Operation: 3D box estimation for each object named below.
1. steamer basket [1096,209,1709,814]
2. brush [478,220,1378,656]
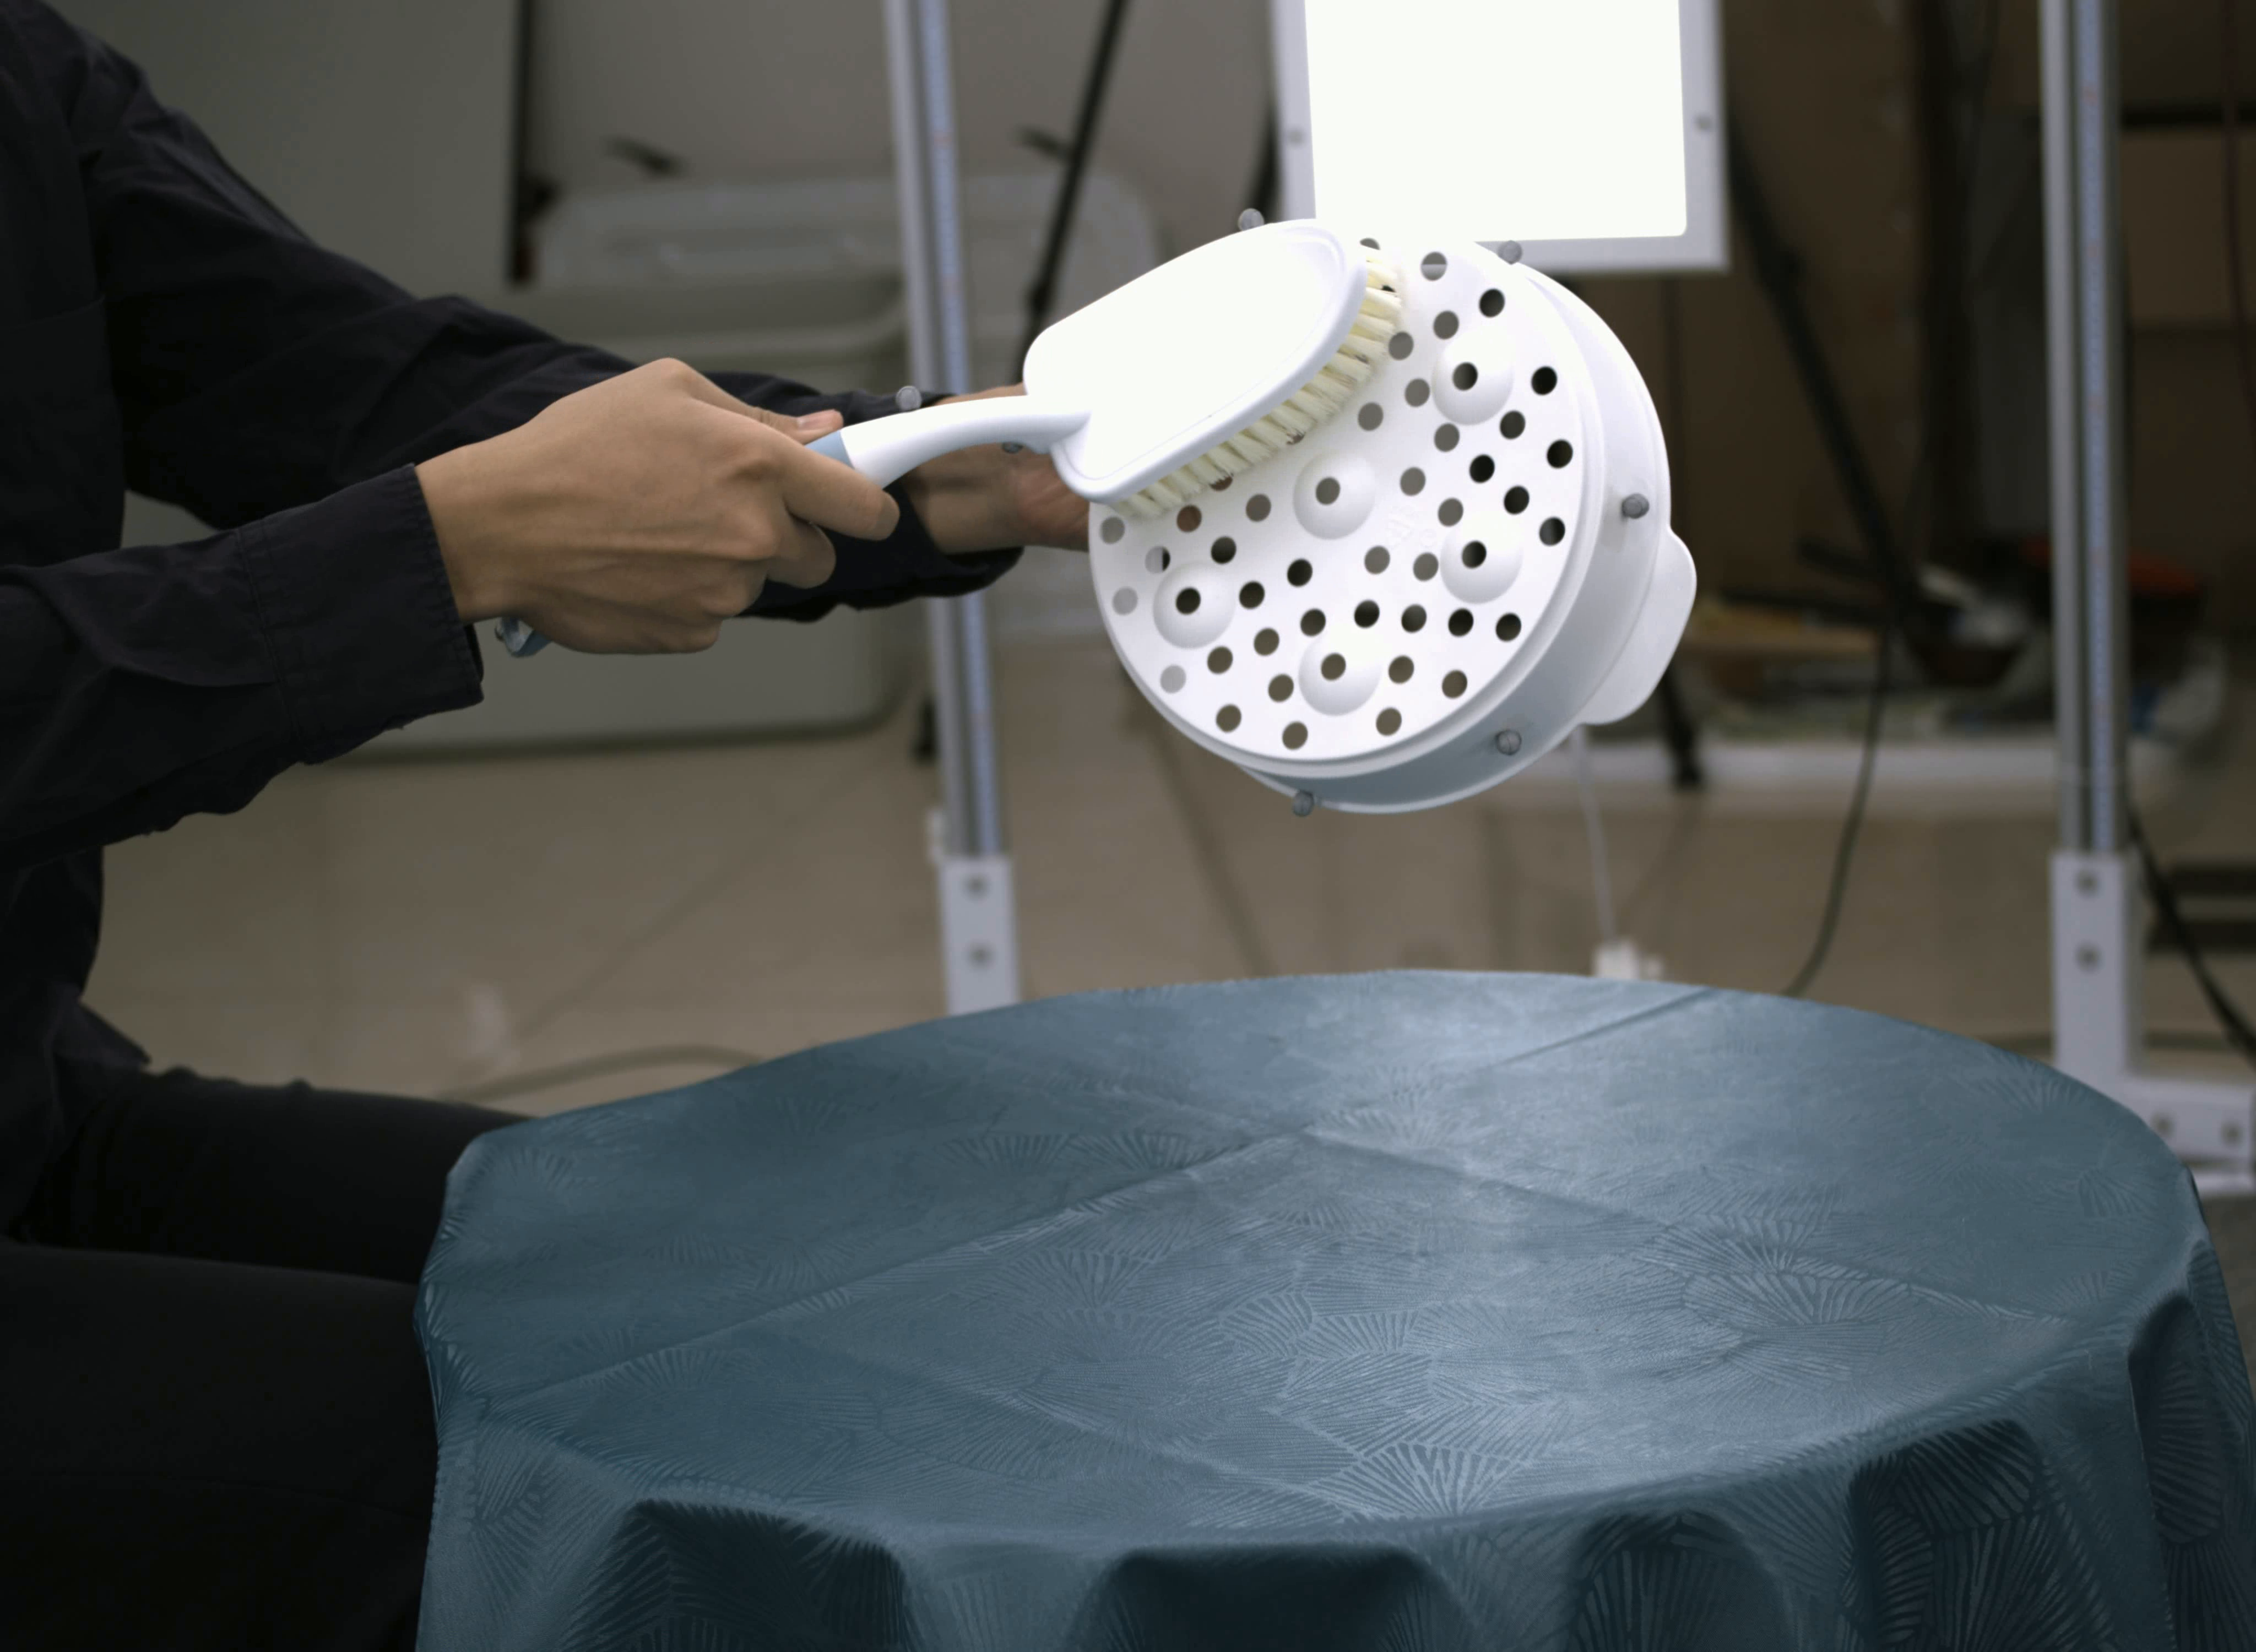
[{"bbox_3d":[0.085,-0.108,1.869,0.234,0.202,0.068,25,2,30],"label":"steamer basket"},{"bbox_3d":[-0.066,-0.124,1.872,0.327,0.084,0.083,-23,33,7],"label":"brush"}]
